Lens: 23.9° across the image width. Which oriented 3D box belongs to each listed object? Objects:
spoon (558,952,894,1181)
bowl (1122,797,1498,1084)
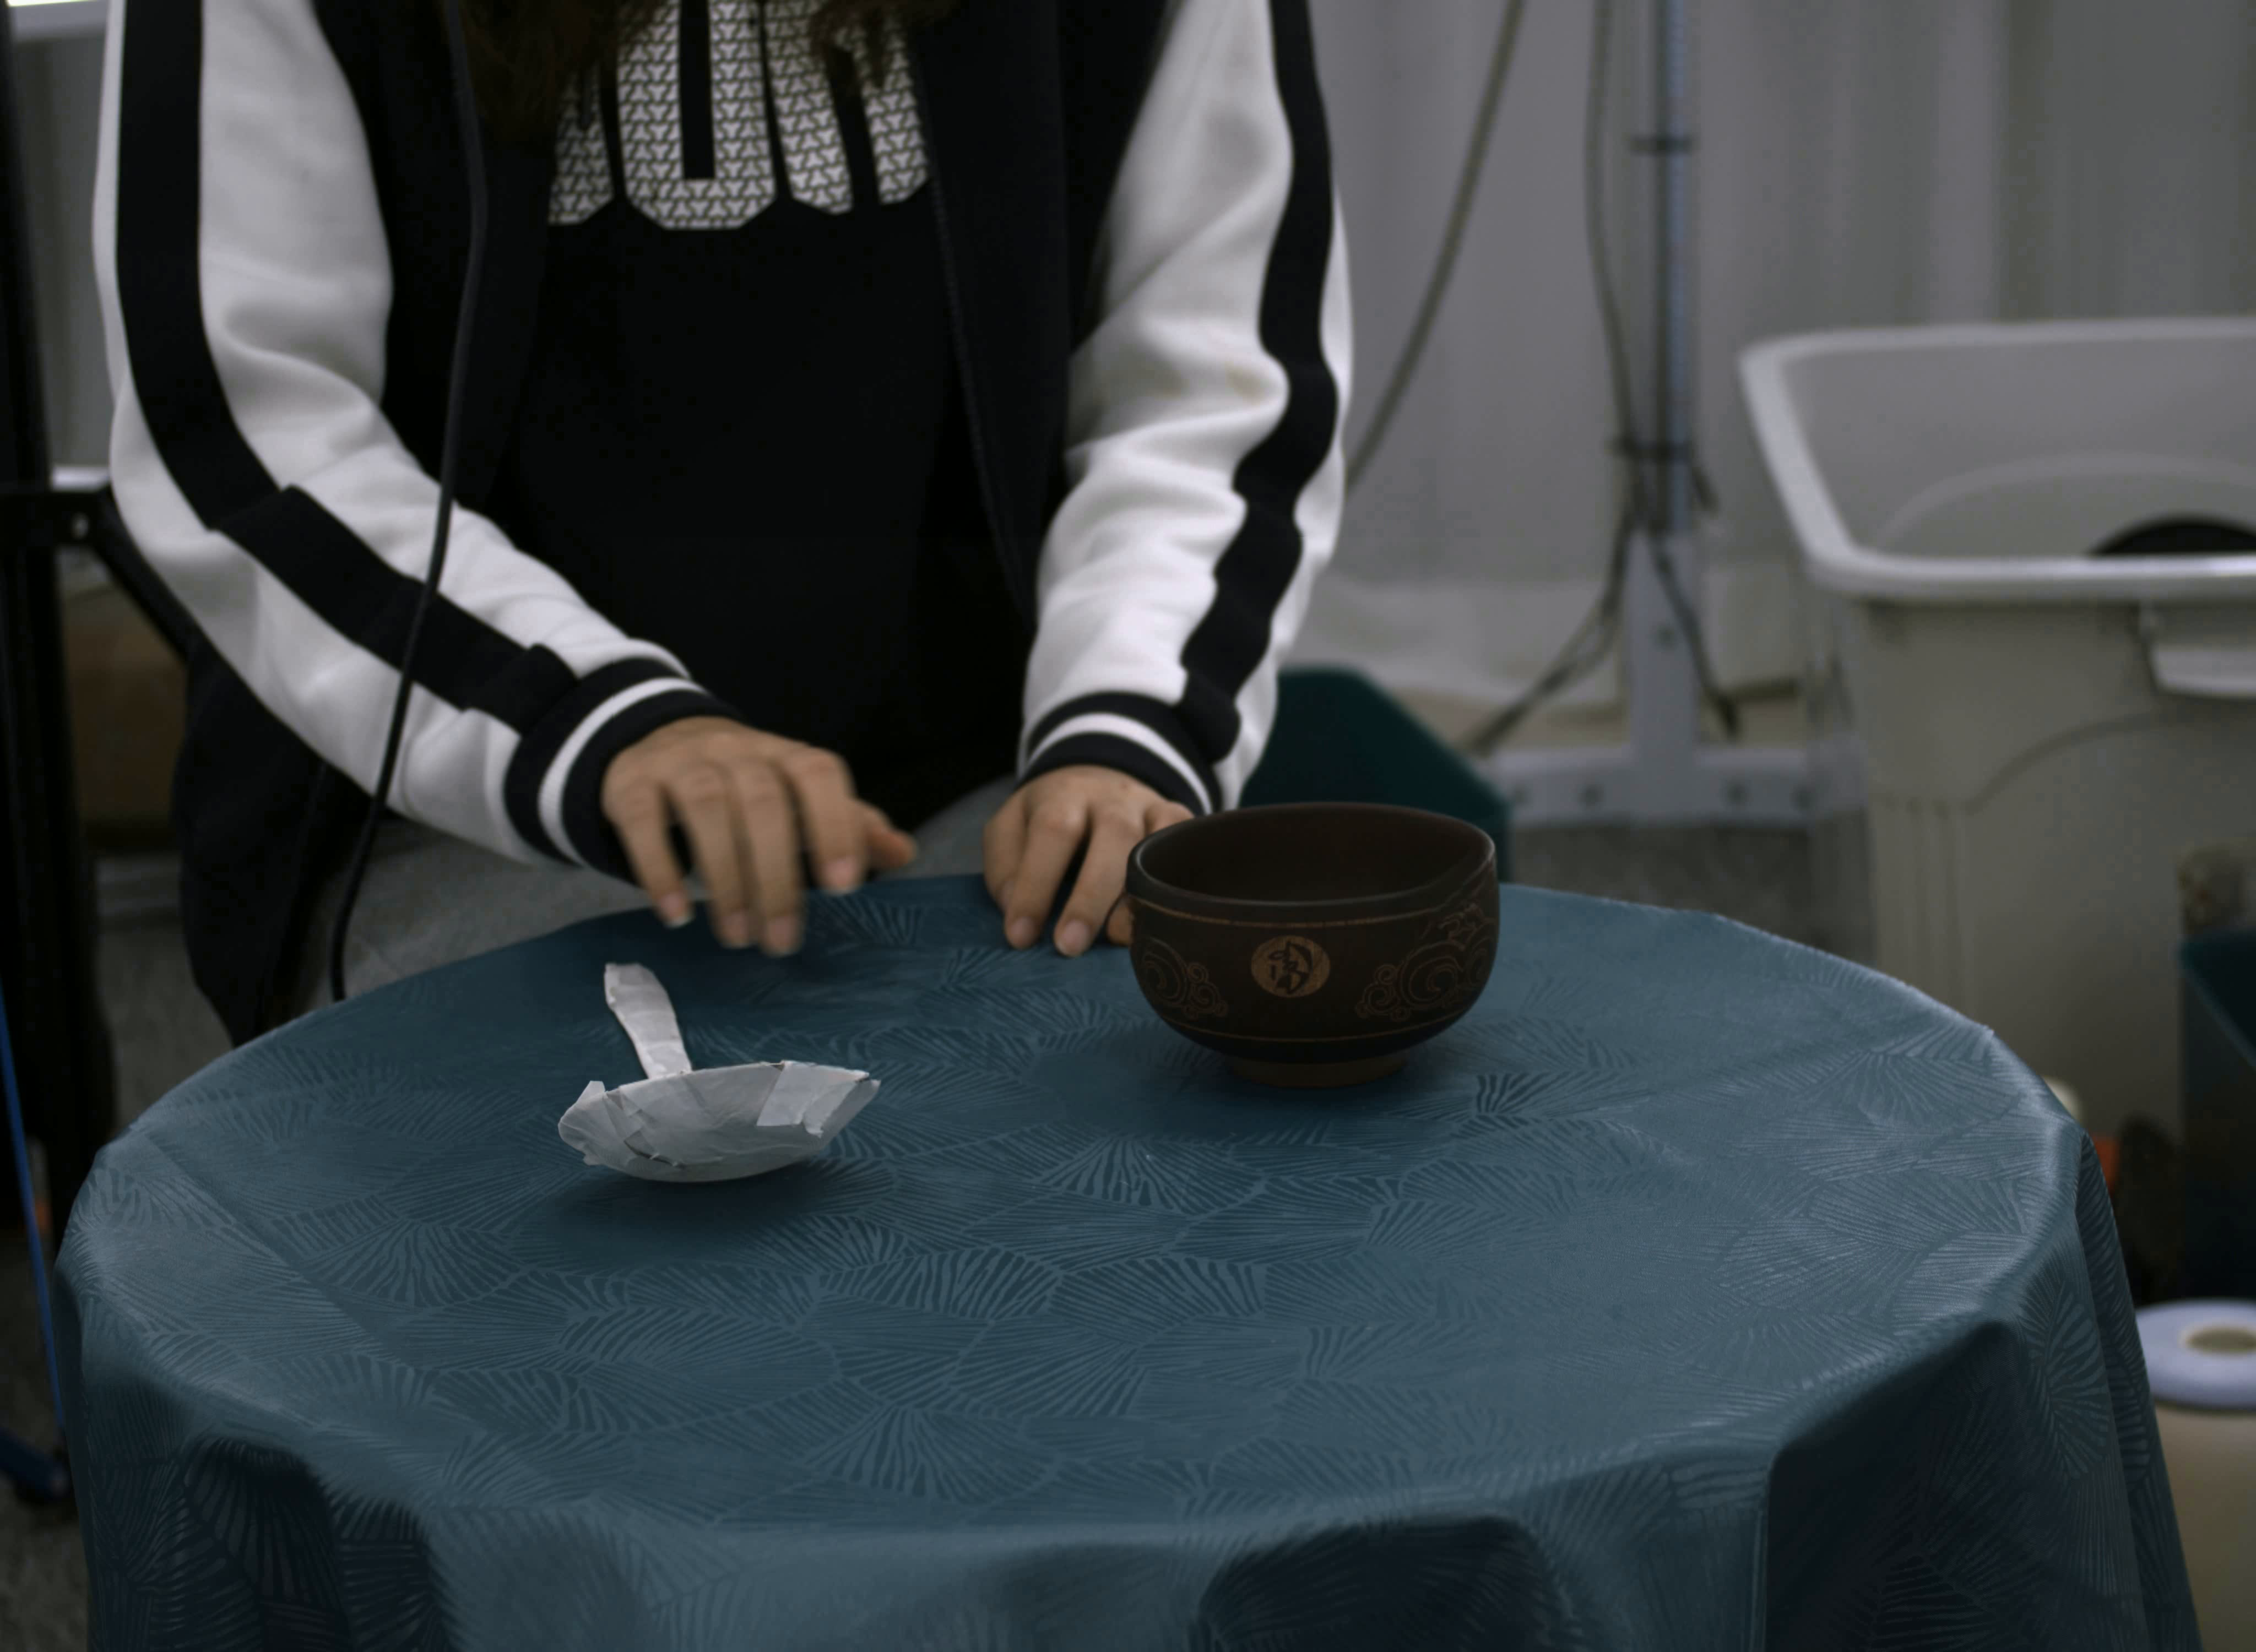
[{"bbox_3d":[-0.133,0.057,1.656,0.099,0.059,0.280,-1,15,-9],"label":"spoon"},{"bbox_3d":[0.057,0.039,1.657,0.117,0.070,0.118,-2,15,-1],"label":"bowl"}]
